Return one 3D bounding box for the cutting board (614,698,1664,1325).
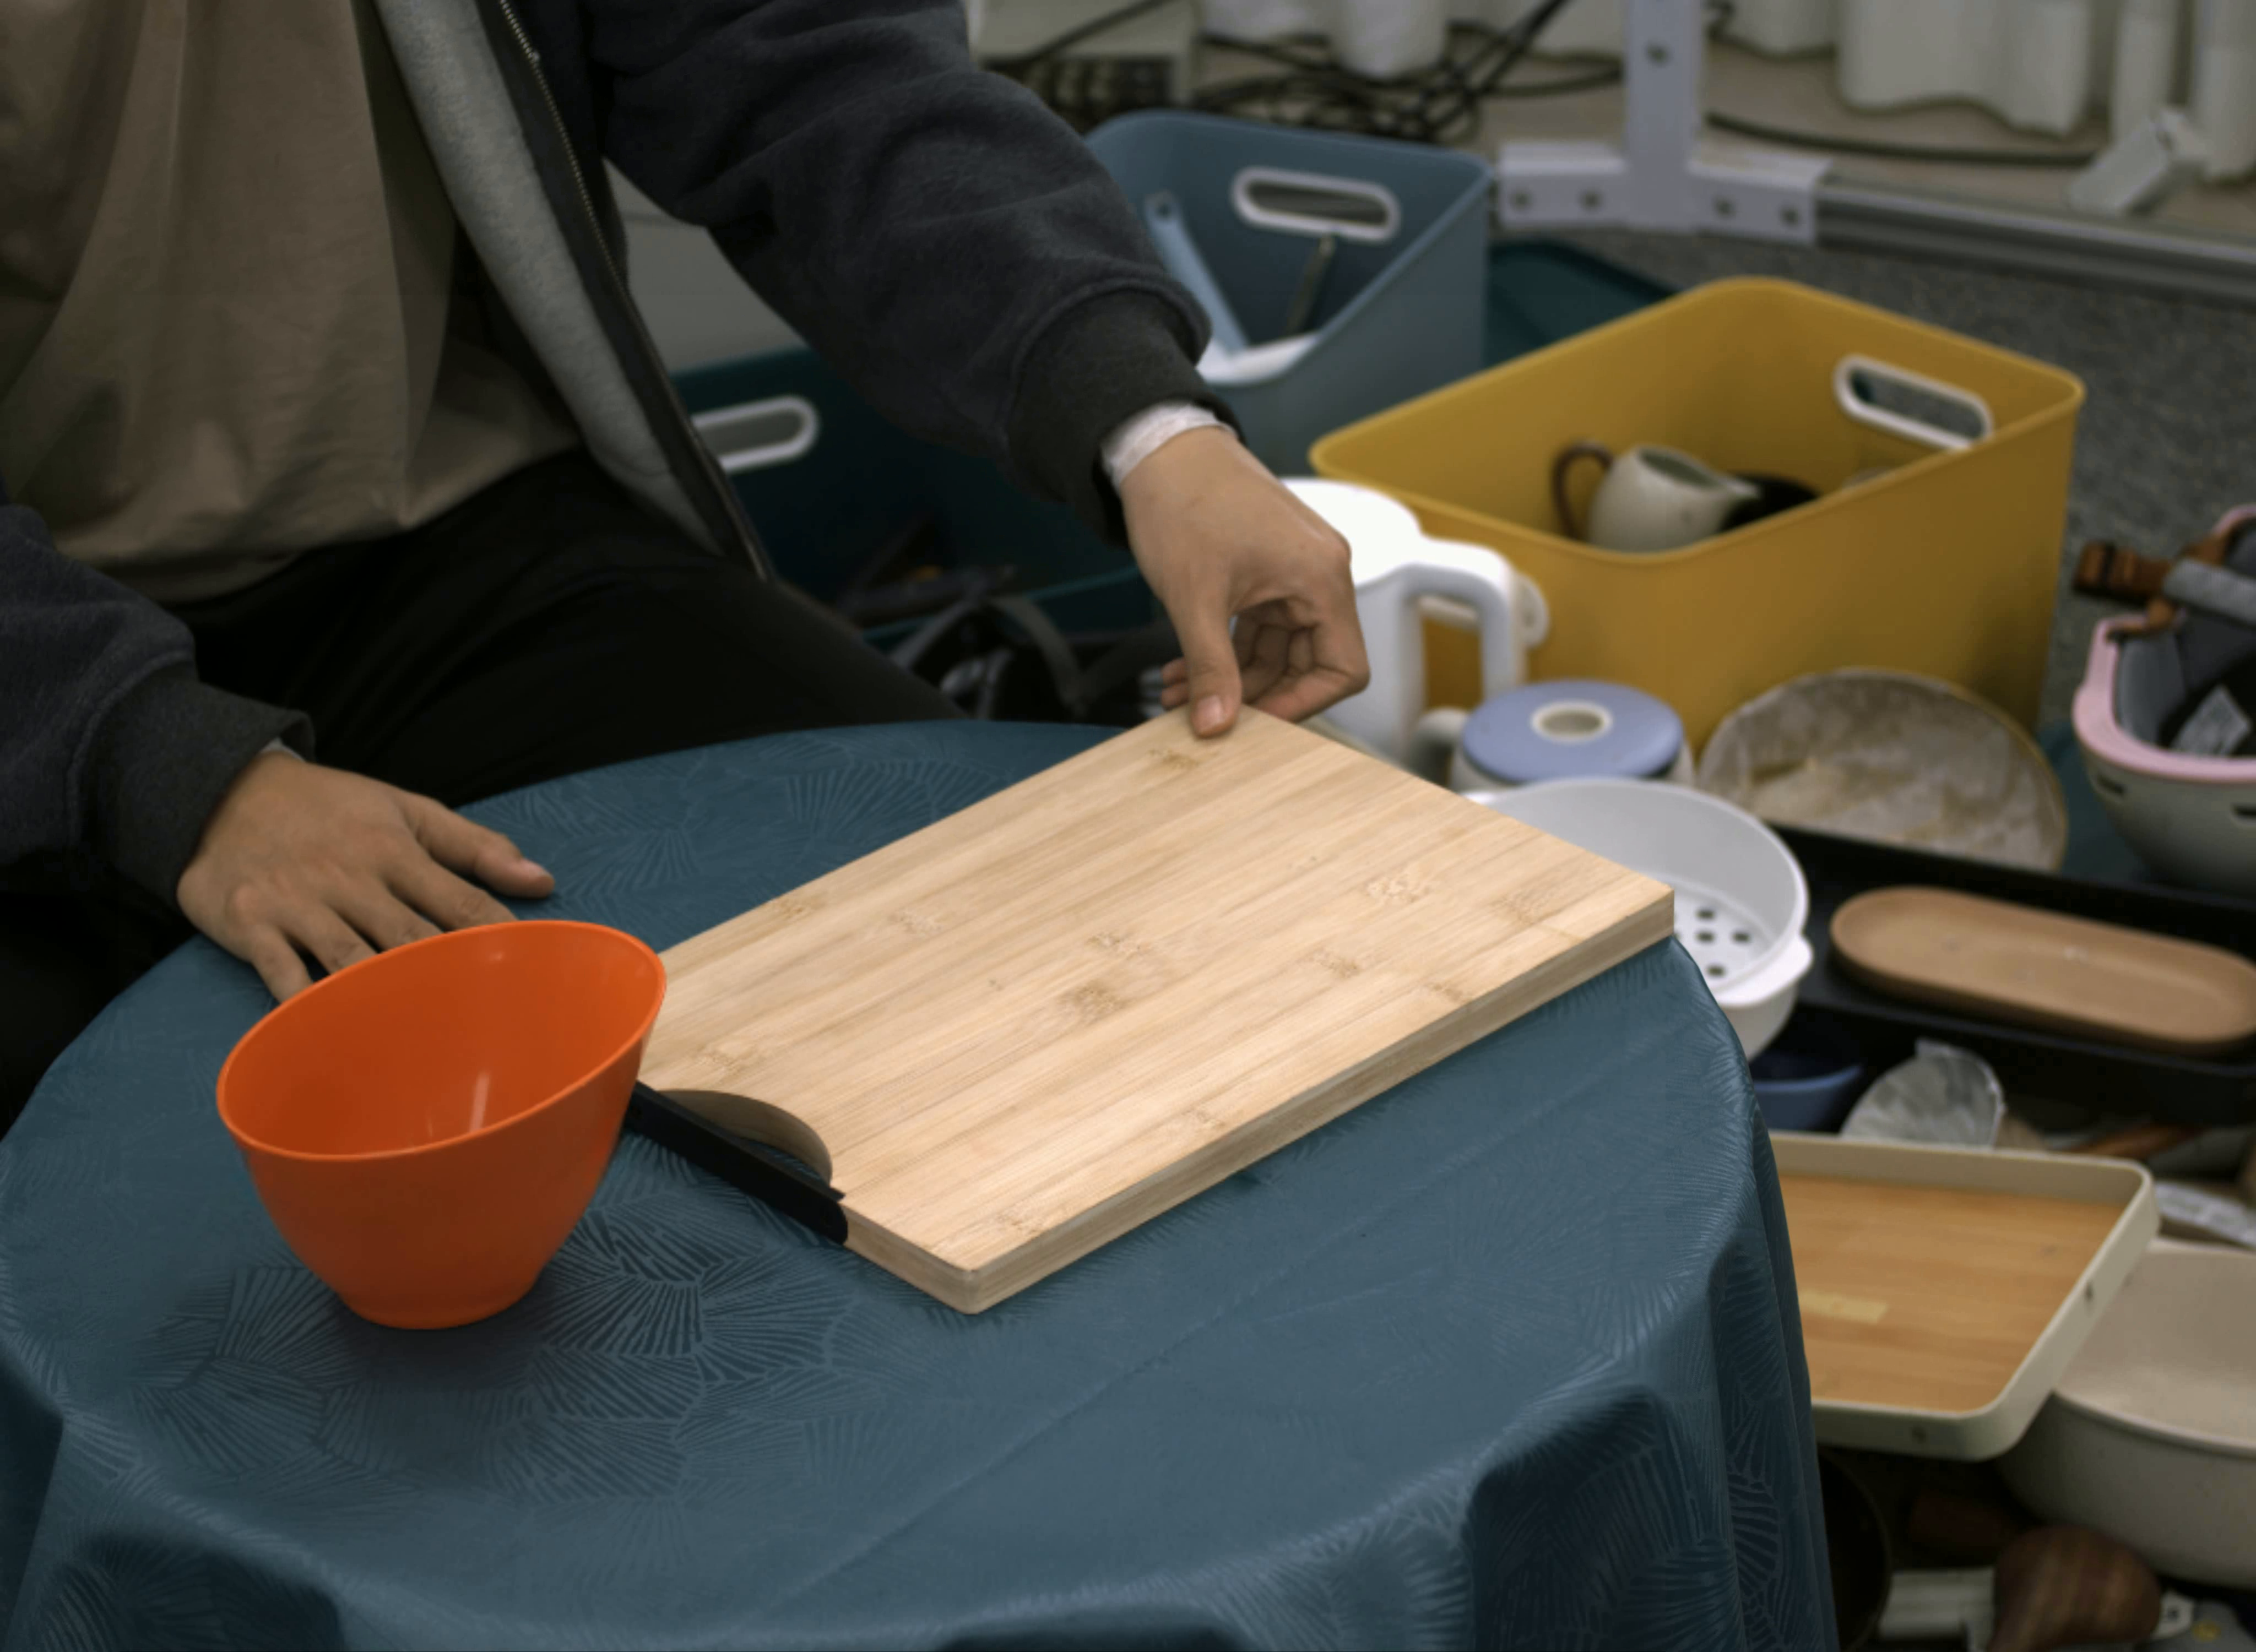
[{"bbox_3d":[-0.014,0.057,1.972,0.353,0.023,0.250,-26,35,-37],"label":"cutting board"}]

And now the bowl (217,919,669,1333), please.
[{"bbox_3d":[-0.217,0.104,1.809,0.147,0.103,0.150,-2,29,2],"label":"bowl"}]
